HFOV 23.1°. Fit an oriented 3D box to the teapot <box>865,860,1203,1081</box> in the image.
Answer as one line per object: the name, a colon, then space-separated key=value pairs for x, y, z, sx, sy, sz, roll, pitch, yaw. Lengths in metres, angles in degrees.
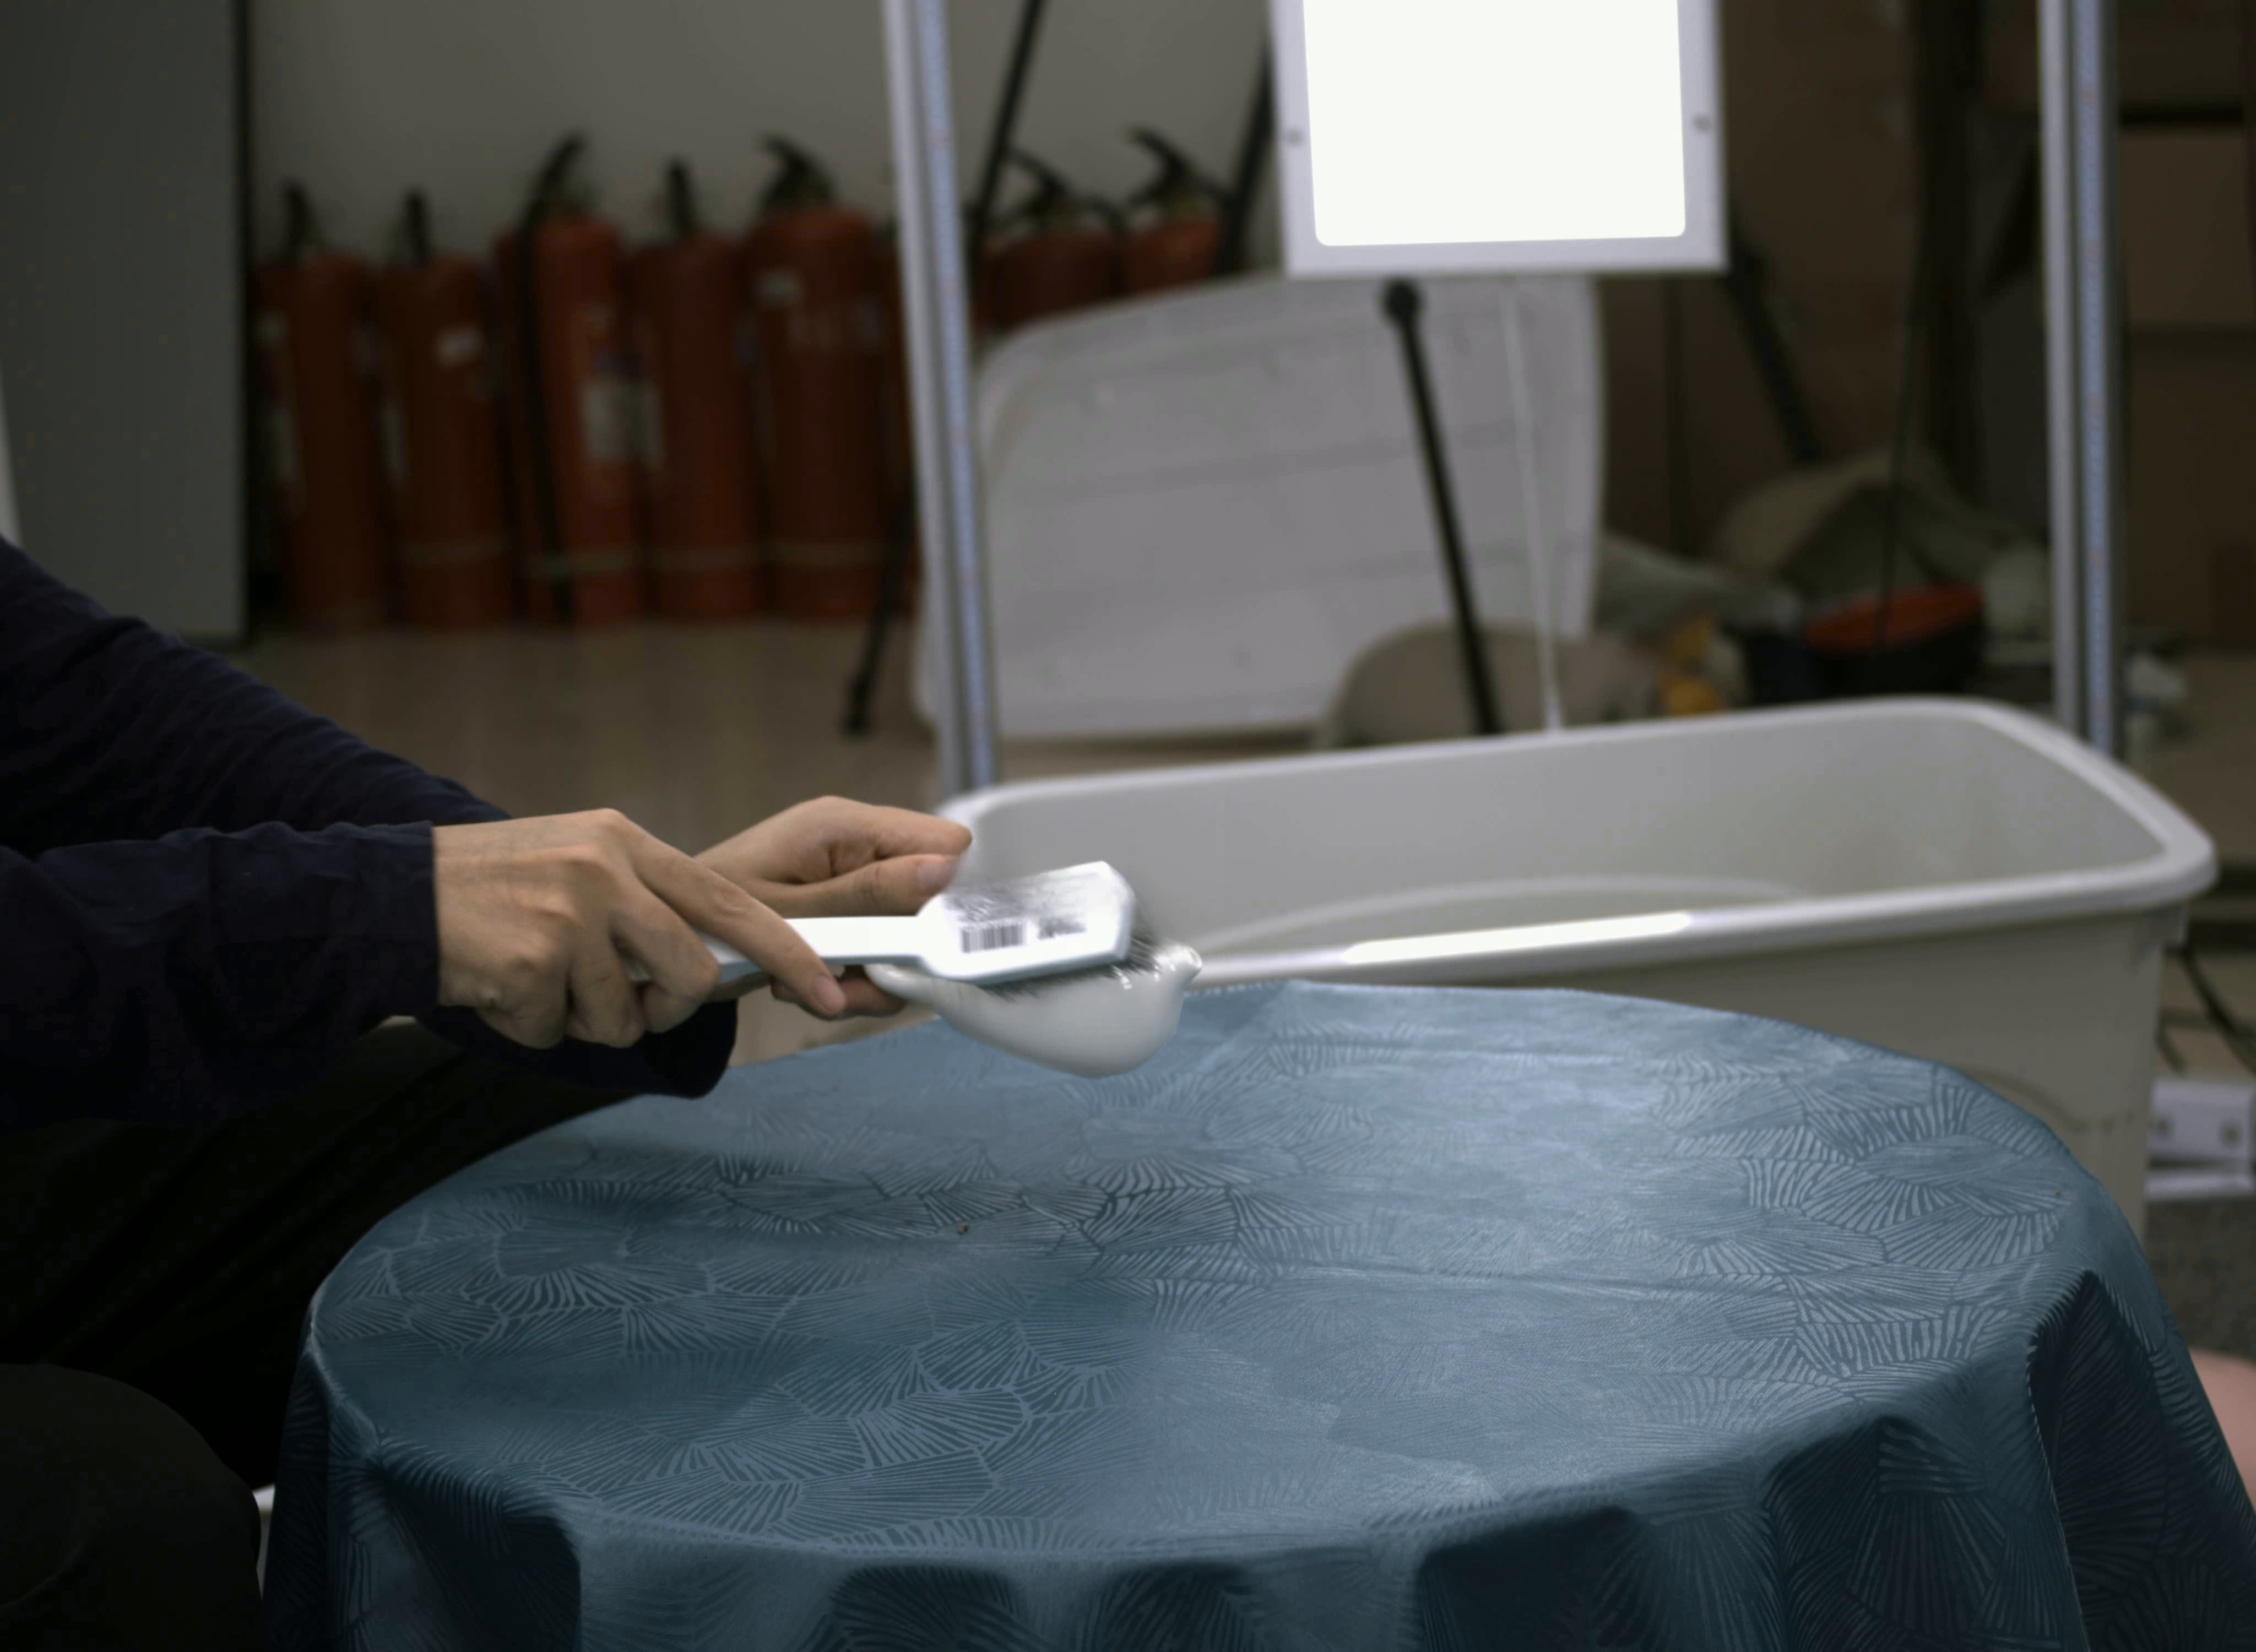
teapot: x=-0.035 y=0.049 z=1.892 sx=0.129 sy=0.057 sz=0.092 roll=18 pitch=7 yaw=23

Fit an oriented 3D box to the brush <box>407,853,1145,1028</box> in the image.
brush: x=-0.115 y=0.044 z=1.820 sx=0.243 sy=0.034 sz=0.050 roll=-8 pitch=-13 yaw=-1
